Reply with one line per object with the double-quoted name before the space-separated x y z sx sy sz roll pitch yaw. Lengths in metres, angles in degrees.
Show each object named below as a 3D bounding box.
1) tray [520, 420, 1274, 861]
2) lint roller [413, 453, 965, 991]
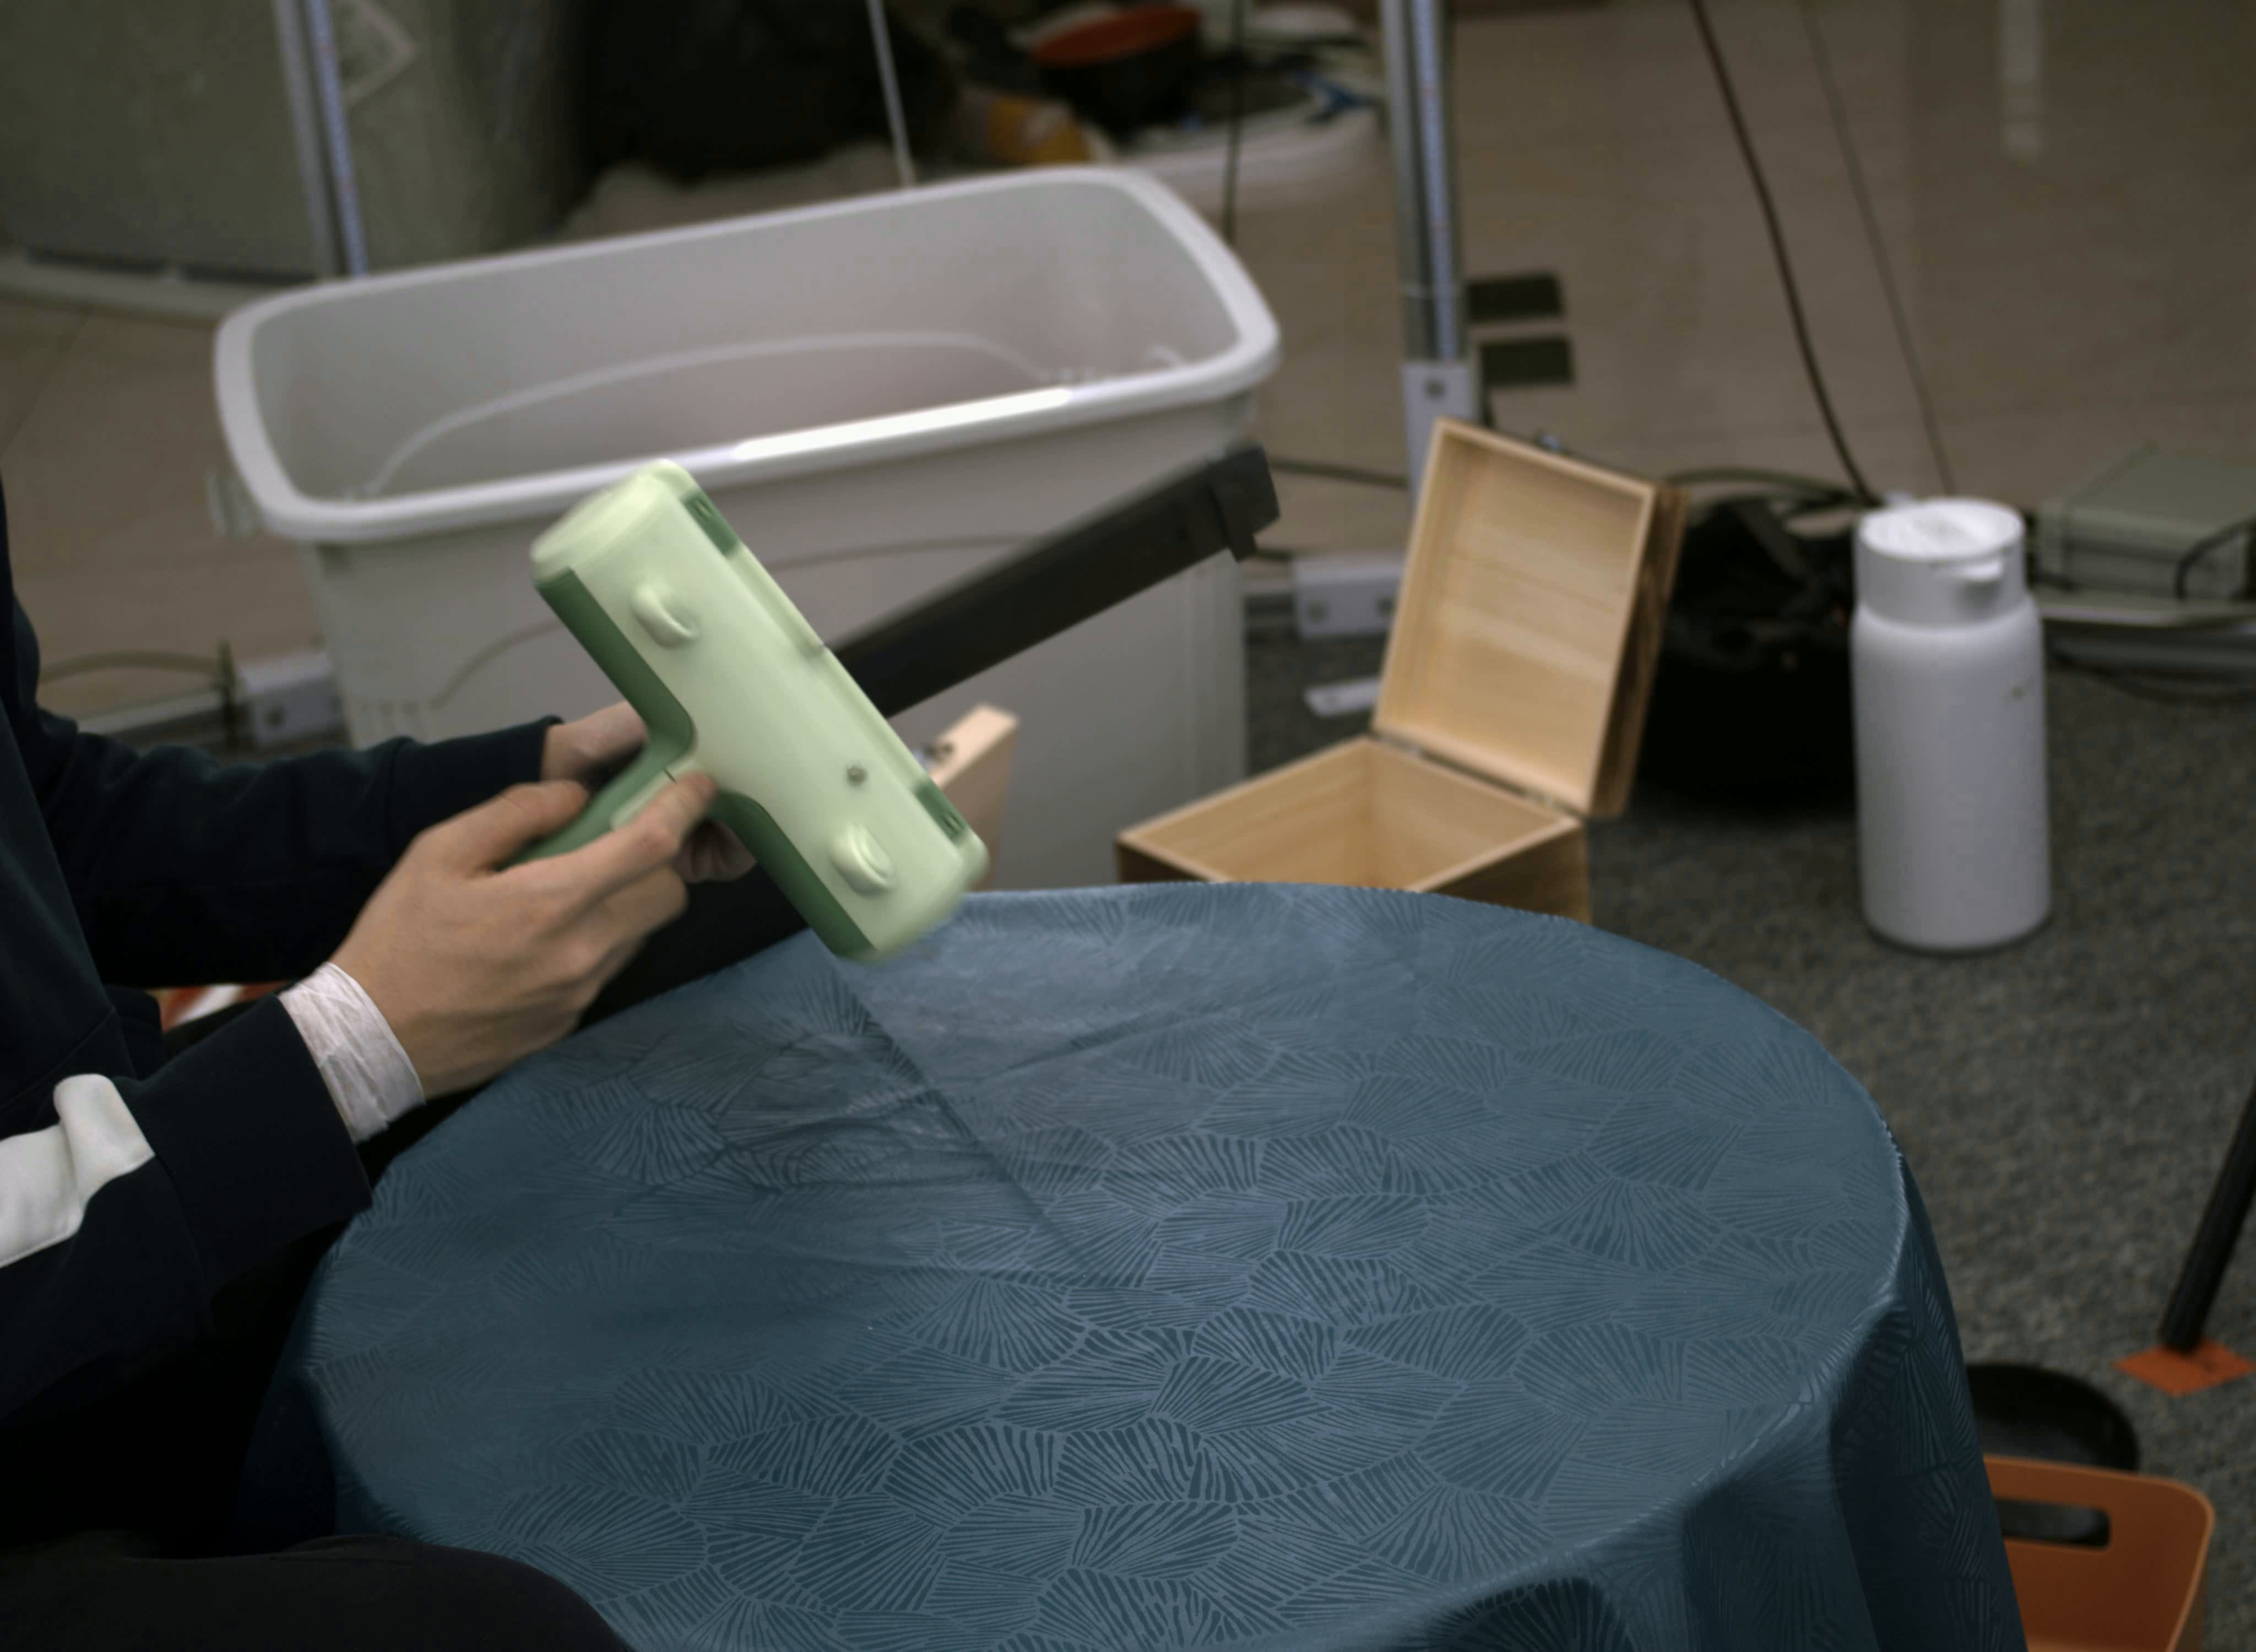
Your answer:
"tray" -0.083 -0.066 2.179 0.306 0.018 0.171 -27 -9 1
"lint roller" -0.176 -0.004 2.017 0.182 0.200 0.082 -44 21 -16
